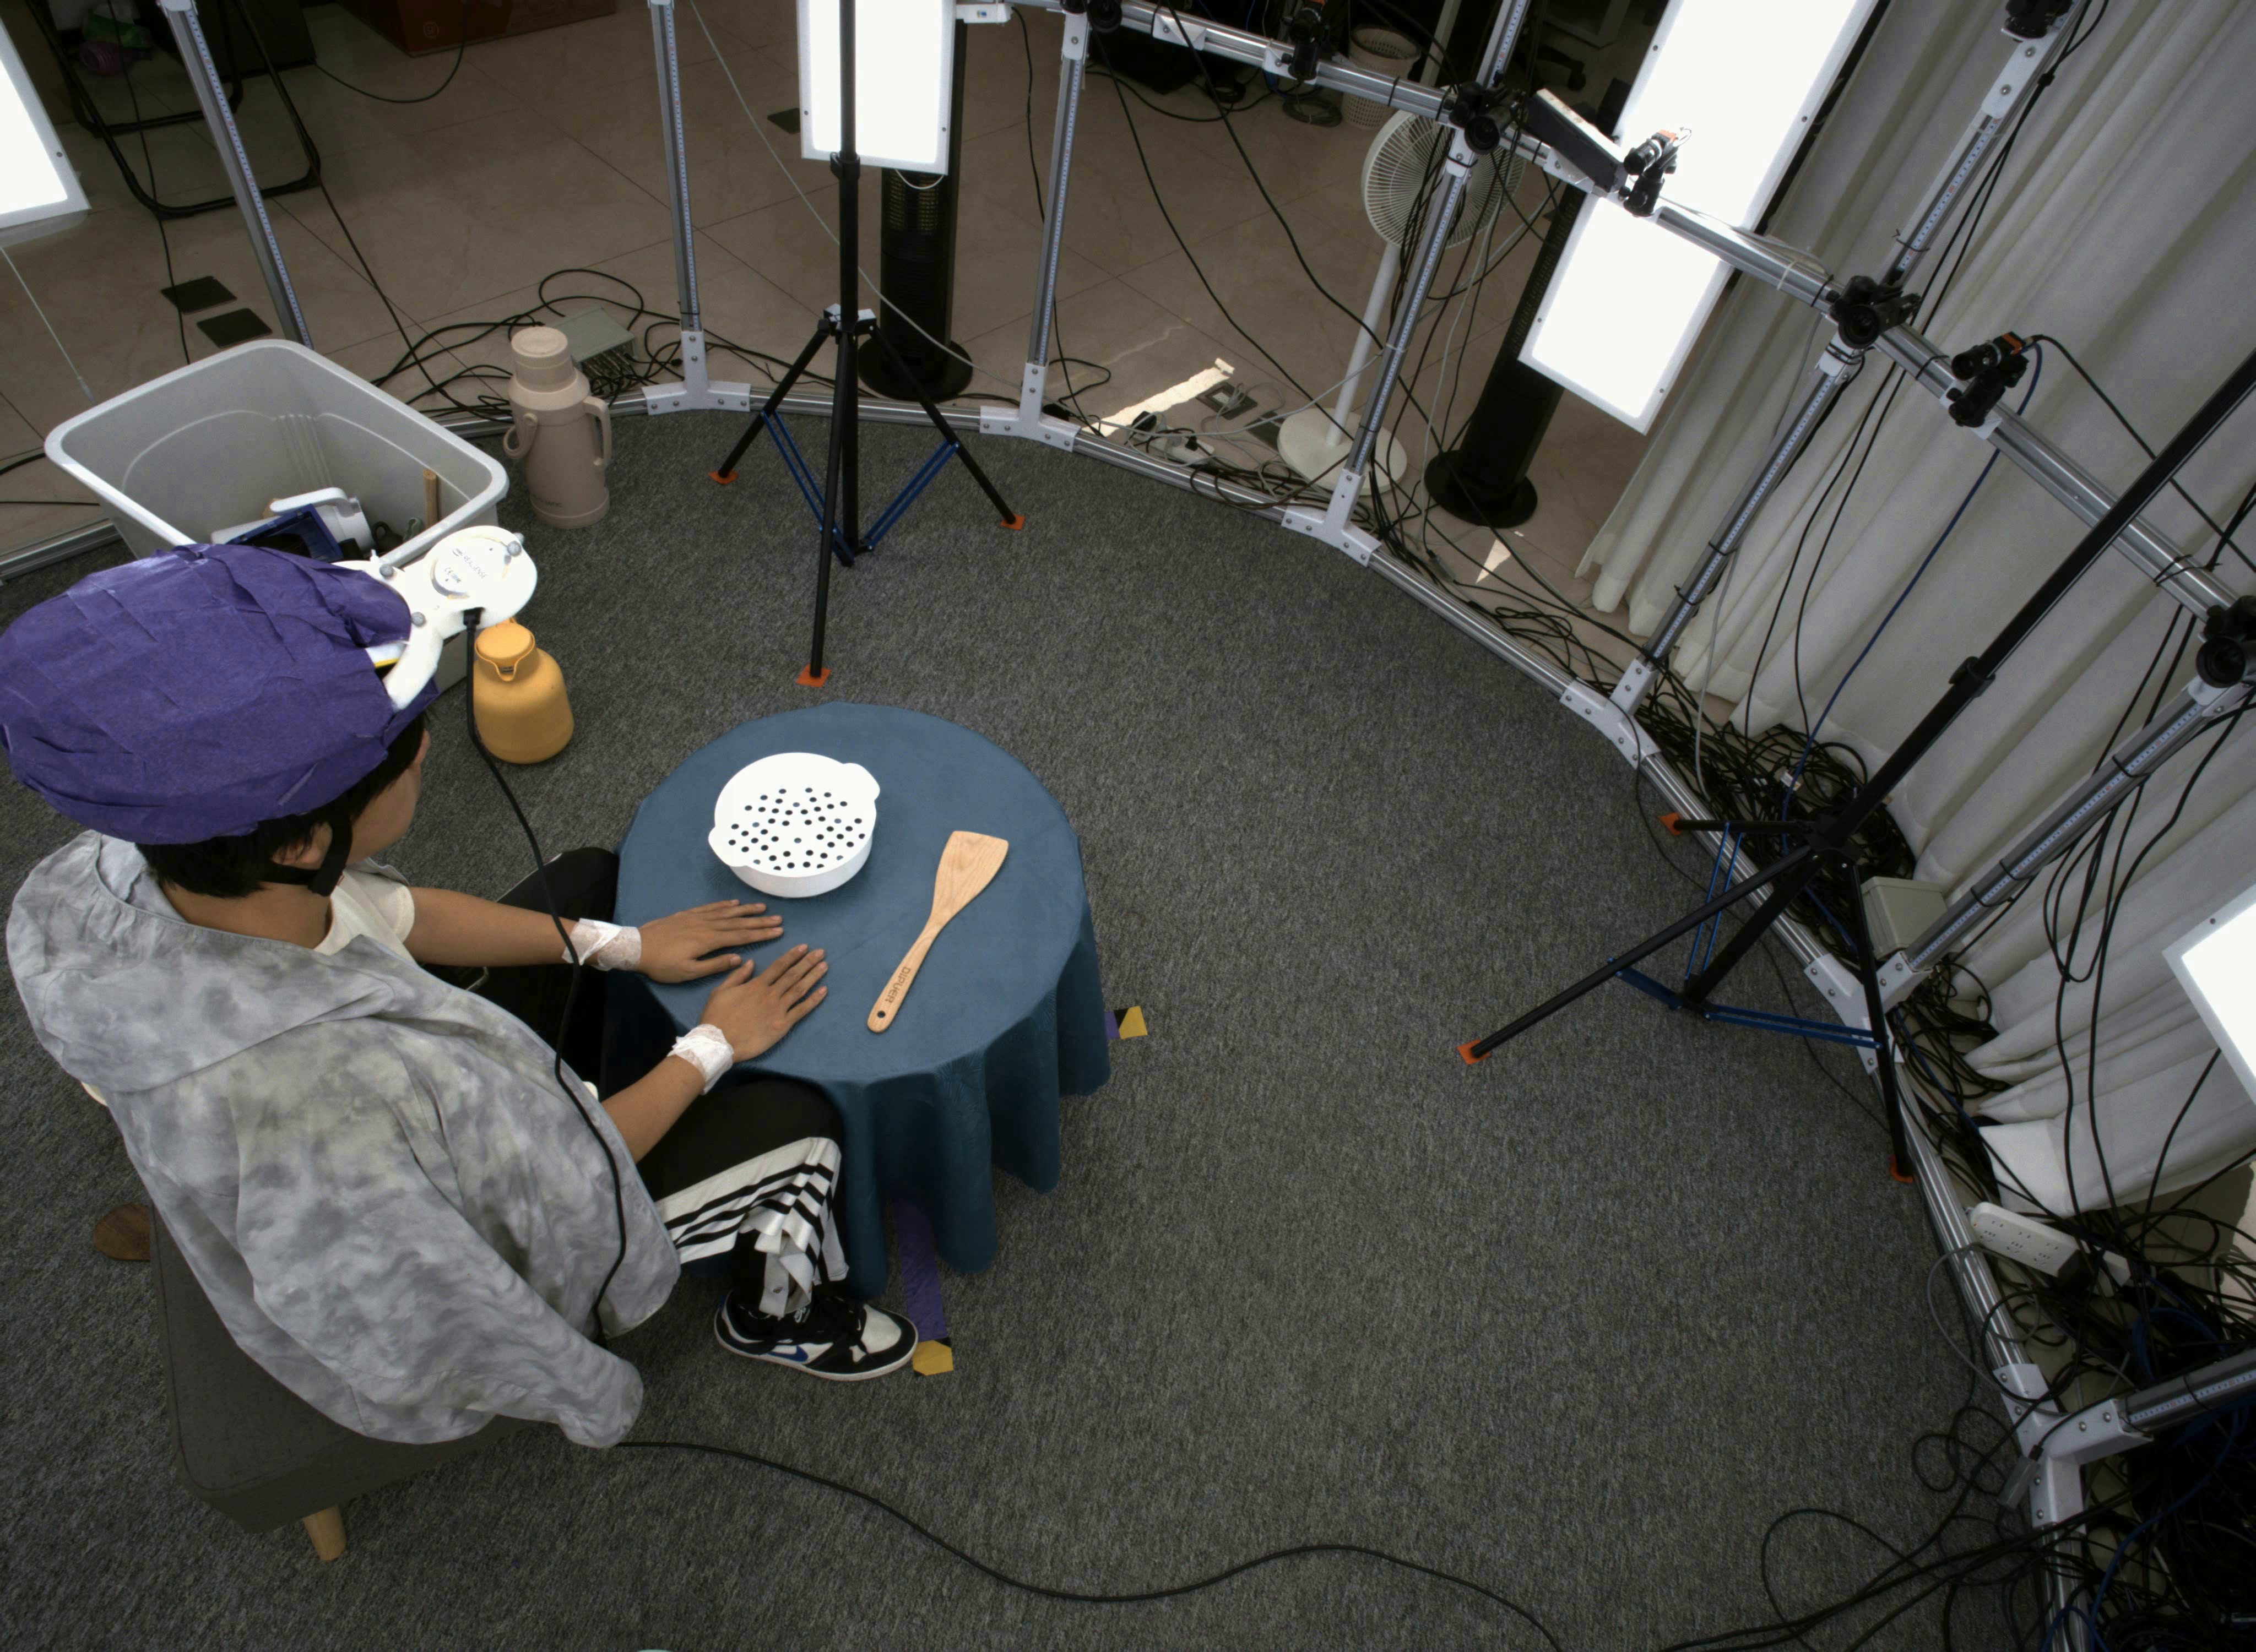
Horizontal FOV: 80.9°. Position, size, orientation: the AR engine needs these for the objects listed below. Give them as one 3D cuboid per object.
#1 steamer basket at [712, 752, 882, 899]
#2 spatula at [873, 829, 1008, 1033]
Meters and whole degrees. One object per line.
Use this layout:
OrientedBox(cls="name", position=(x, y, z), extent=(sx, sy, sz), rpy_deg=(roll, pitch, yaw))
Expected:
OrientedBox(cls="steamer basket", position=(-0.425, -0.001, 1.685), extent=(0.231, 0.071, 0.197), rpy_deg=(-31, 64, -29))
OrientedBox(cls="spatula", position=(-0.248, 0.126, 1.665), extent=(0.079, 0.017, 0.325), rpy_deg=(22, 52, 4))
